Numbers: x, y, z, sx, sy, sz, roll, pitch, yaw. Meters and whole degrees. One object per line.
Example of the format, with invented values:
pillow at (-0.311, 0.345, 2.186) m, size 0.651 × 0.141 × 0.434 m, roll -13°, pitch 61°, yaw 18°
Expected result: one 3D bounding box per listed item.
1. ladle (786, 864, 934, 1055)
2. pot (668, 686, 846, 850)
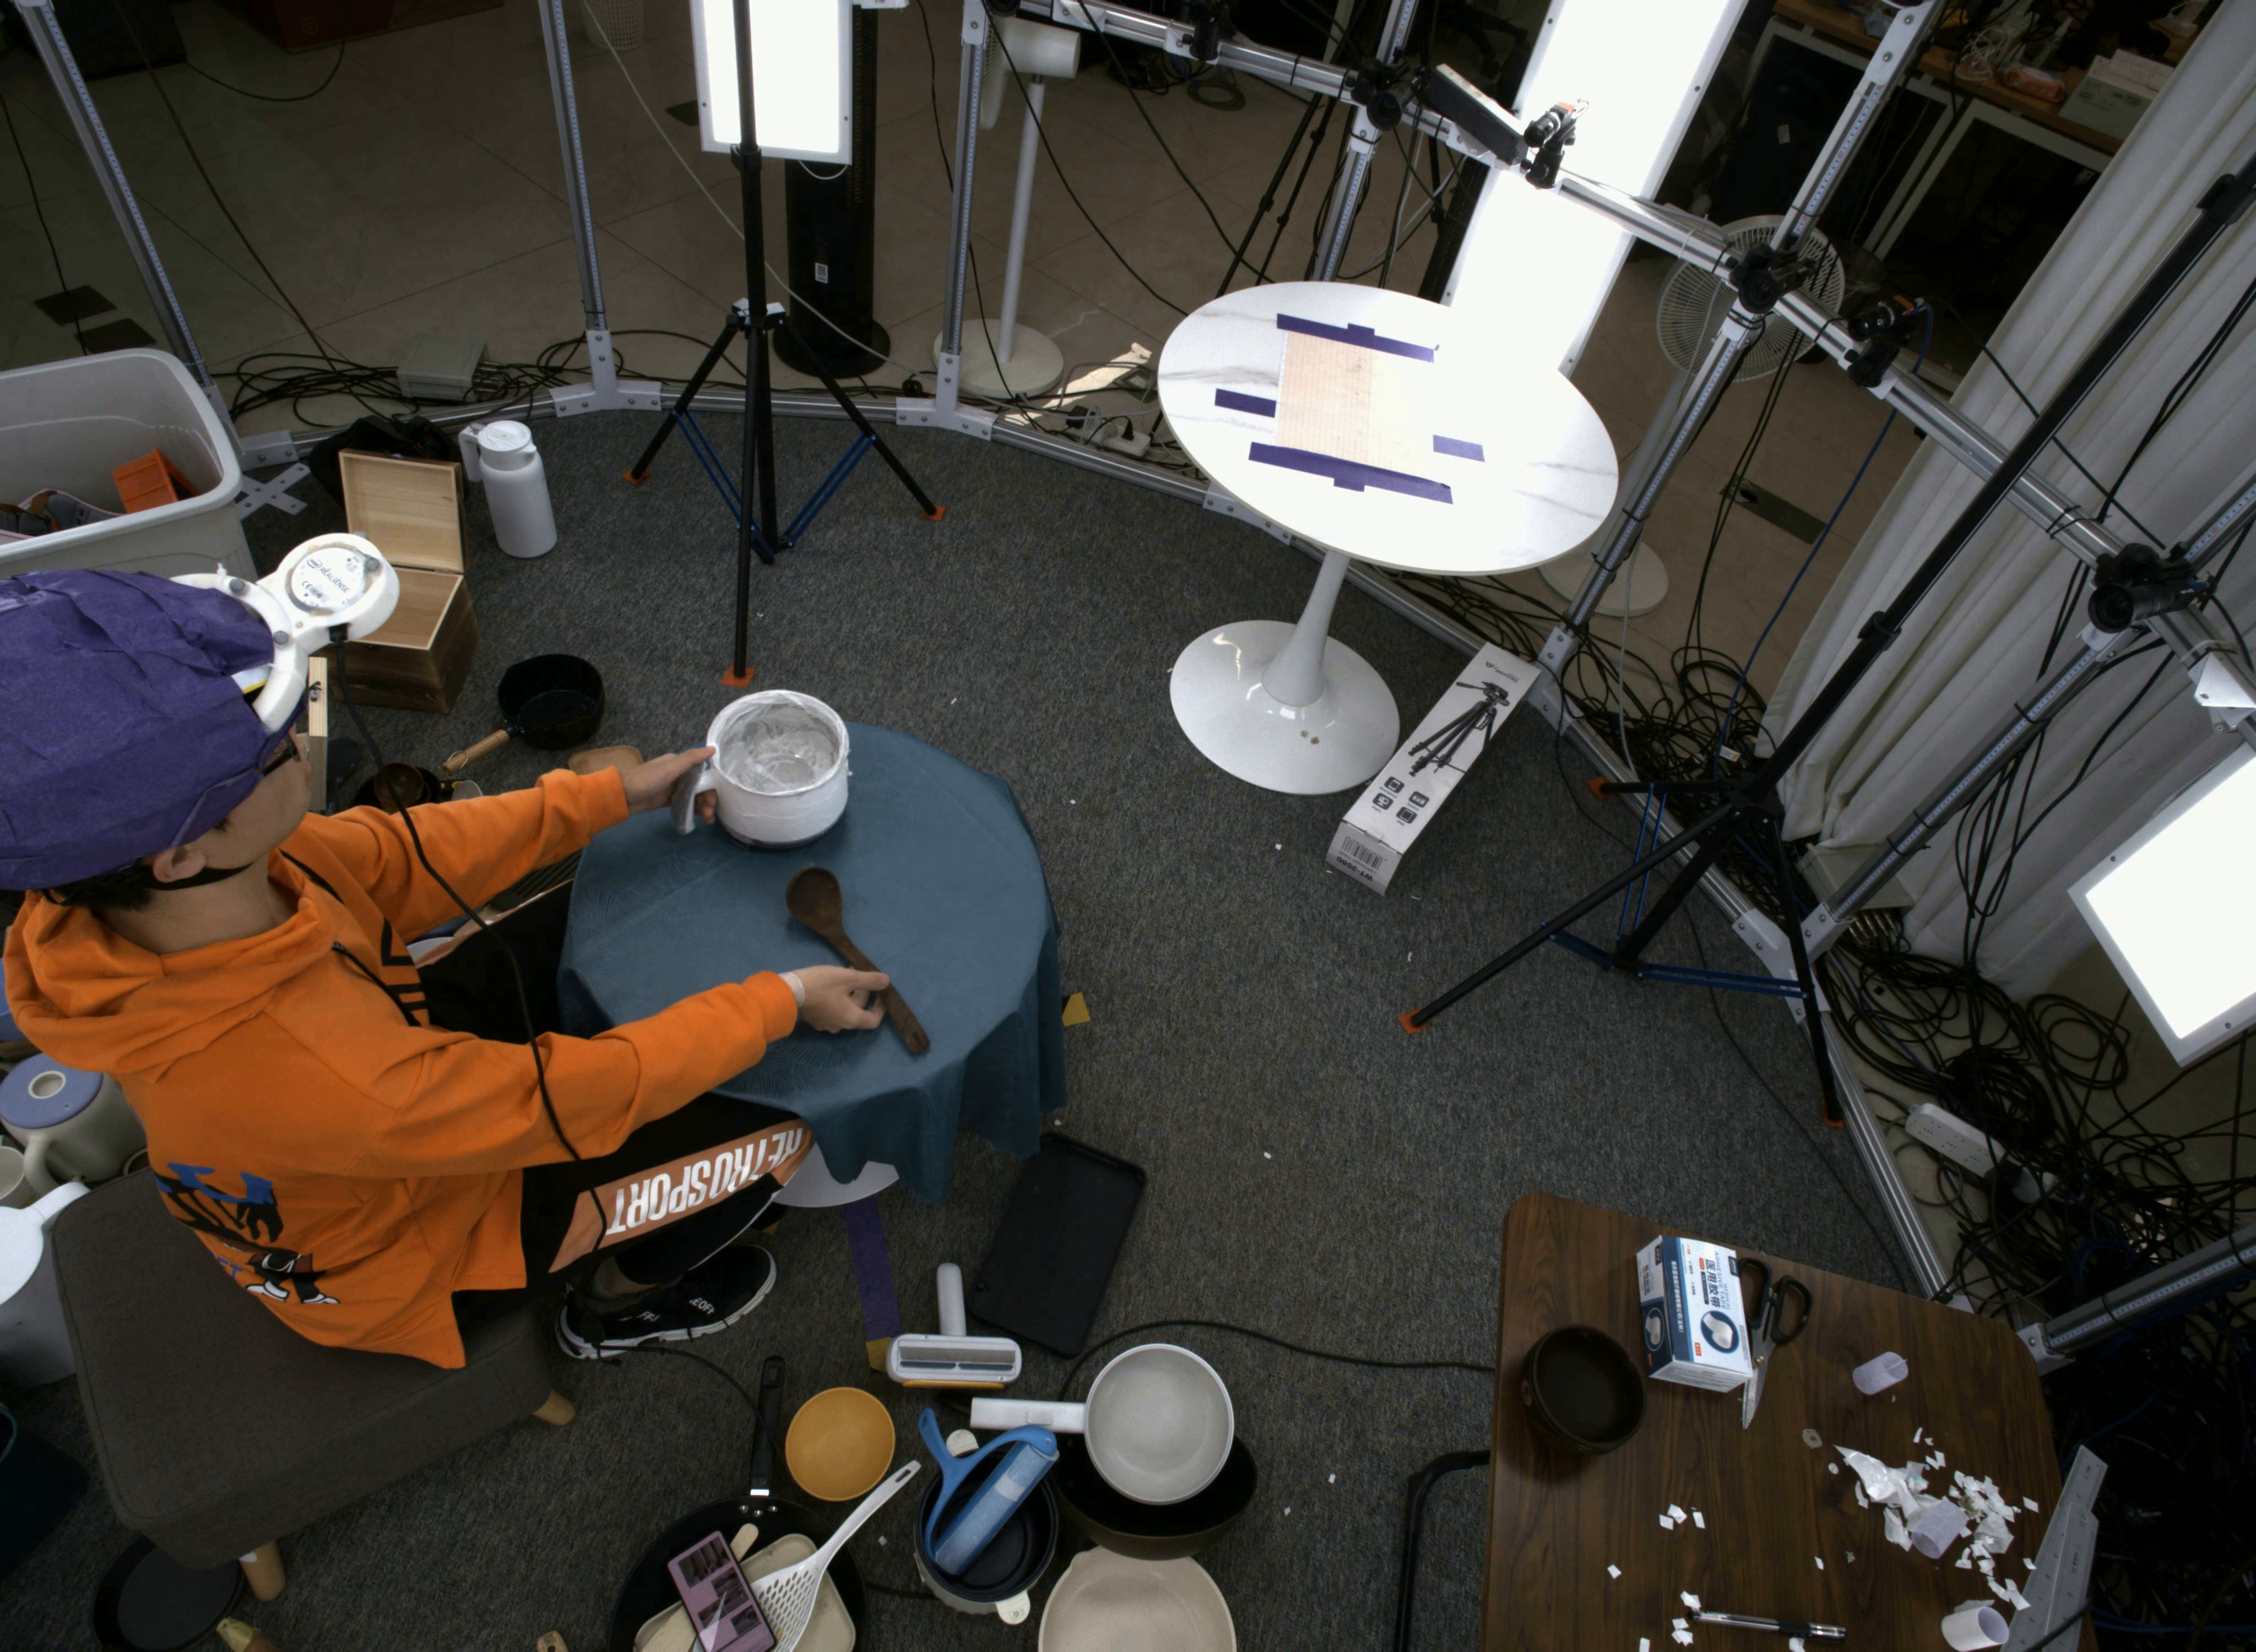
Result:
ladle at (-0.321, 0.156, 1.578) m, size 0.076 × 0.073 × 0.267 m, roll -28°, pitch 64°, yaw -36°
pot at (-0.476, -0.062, 1.657) m, size 0.235 × 0.139 × 0.174 m, roll -21°, pitch 60°, yaw -28°
